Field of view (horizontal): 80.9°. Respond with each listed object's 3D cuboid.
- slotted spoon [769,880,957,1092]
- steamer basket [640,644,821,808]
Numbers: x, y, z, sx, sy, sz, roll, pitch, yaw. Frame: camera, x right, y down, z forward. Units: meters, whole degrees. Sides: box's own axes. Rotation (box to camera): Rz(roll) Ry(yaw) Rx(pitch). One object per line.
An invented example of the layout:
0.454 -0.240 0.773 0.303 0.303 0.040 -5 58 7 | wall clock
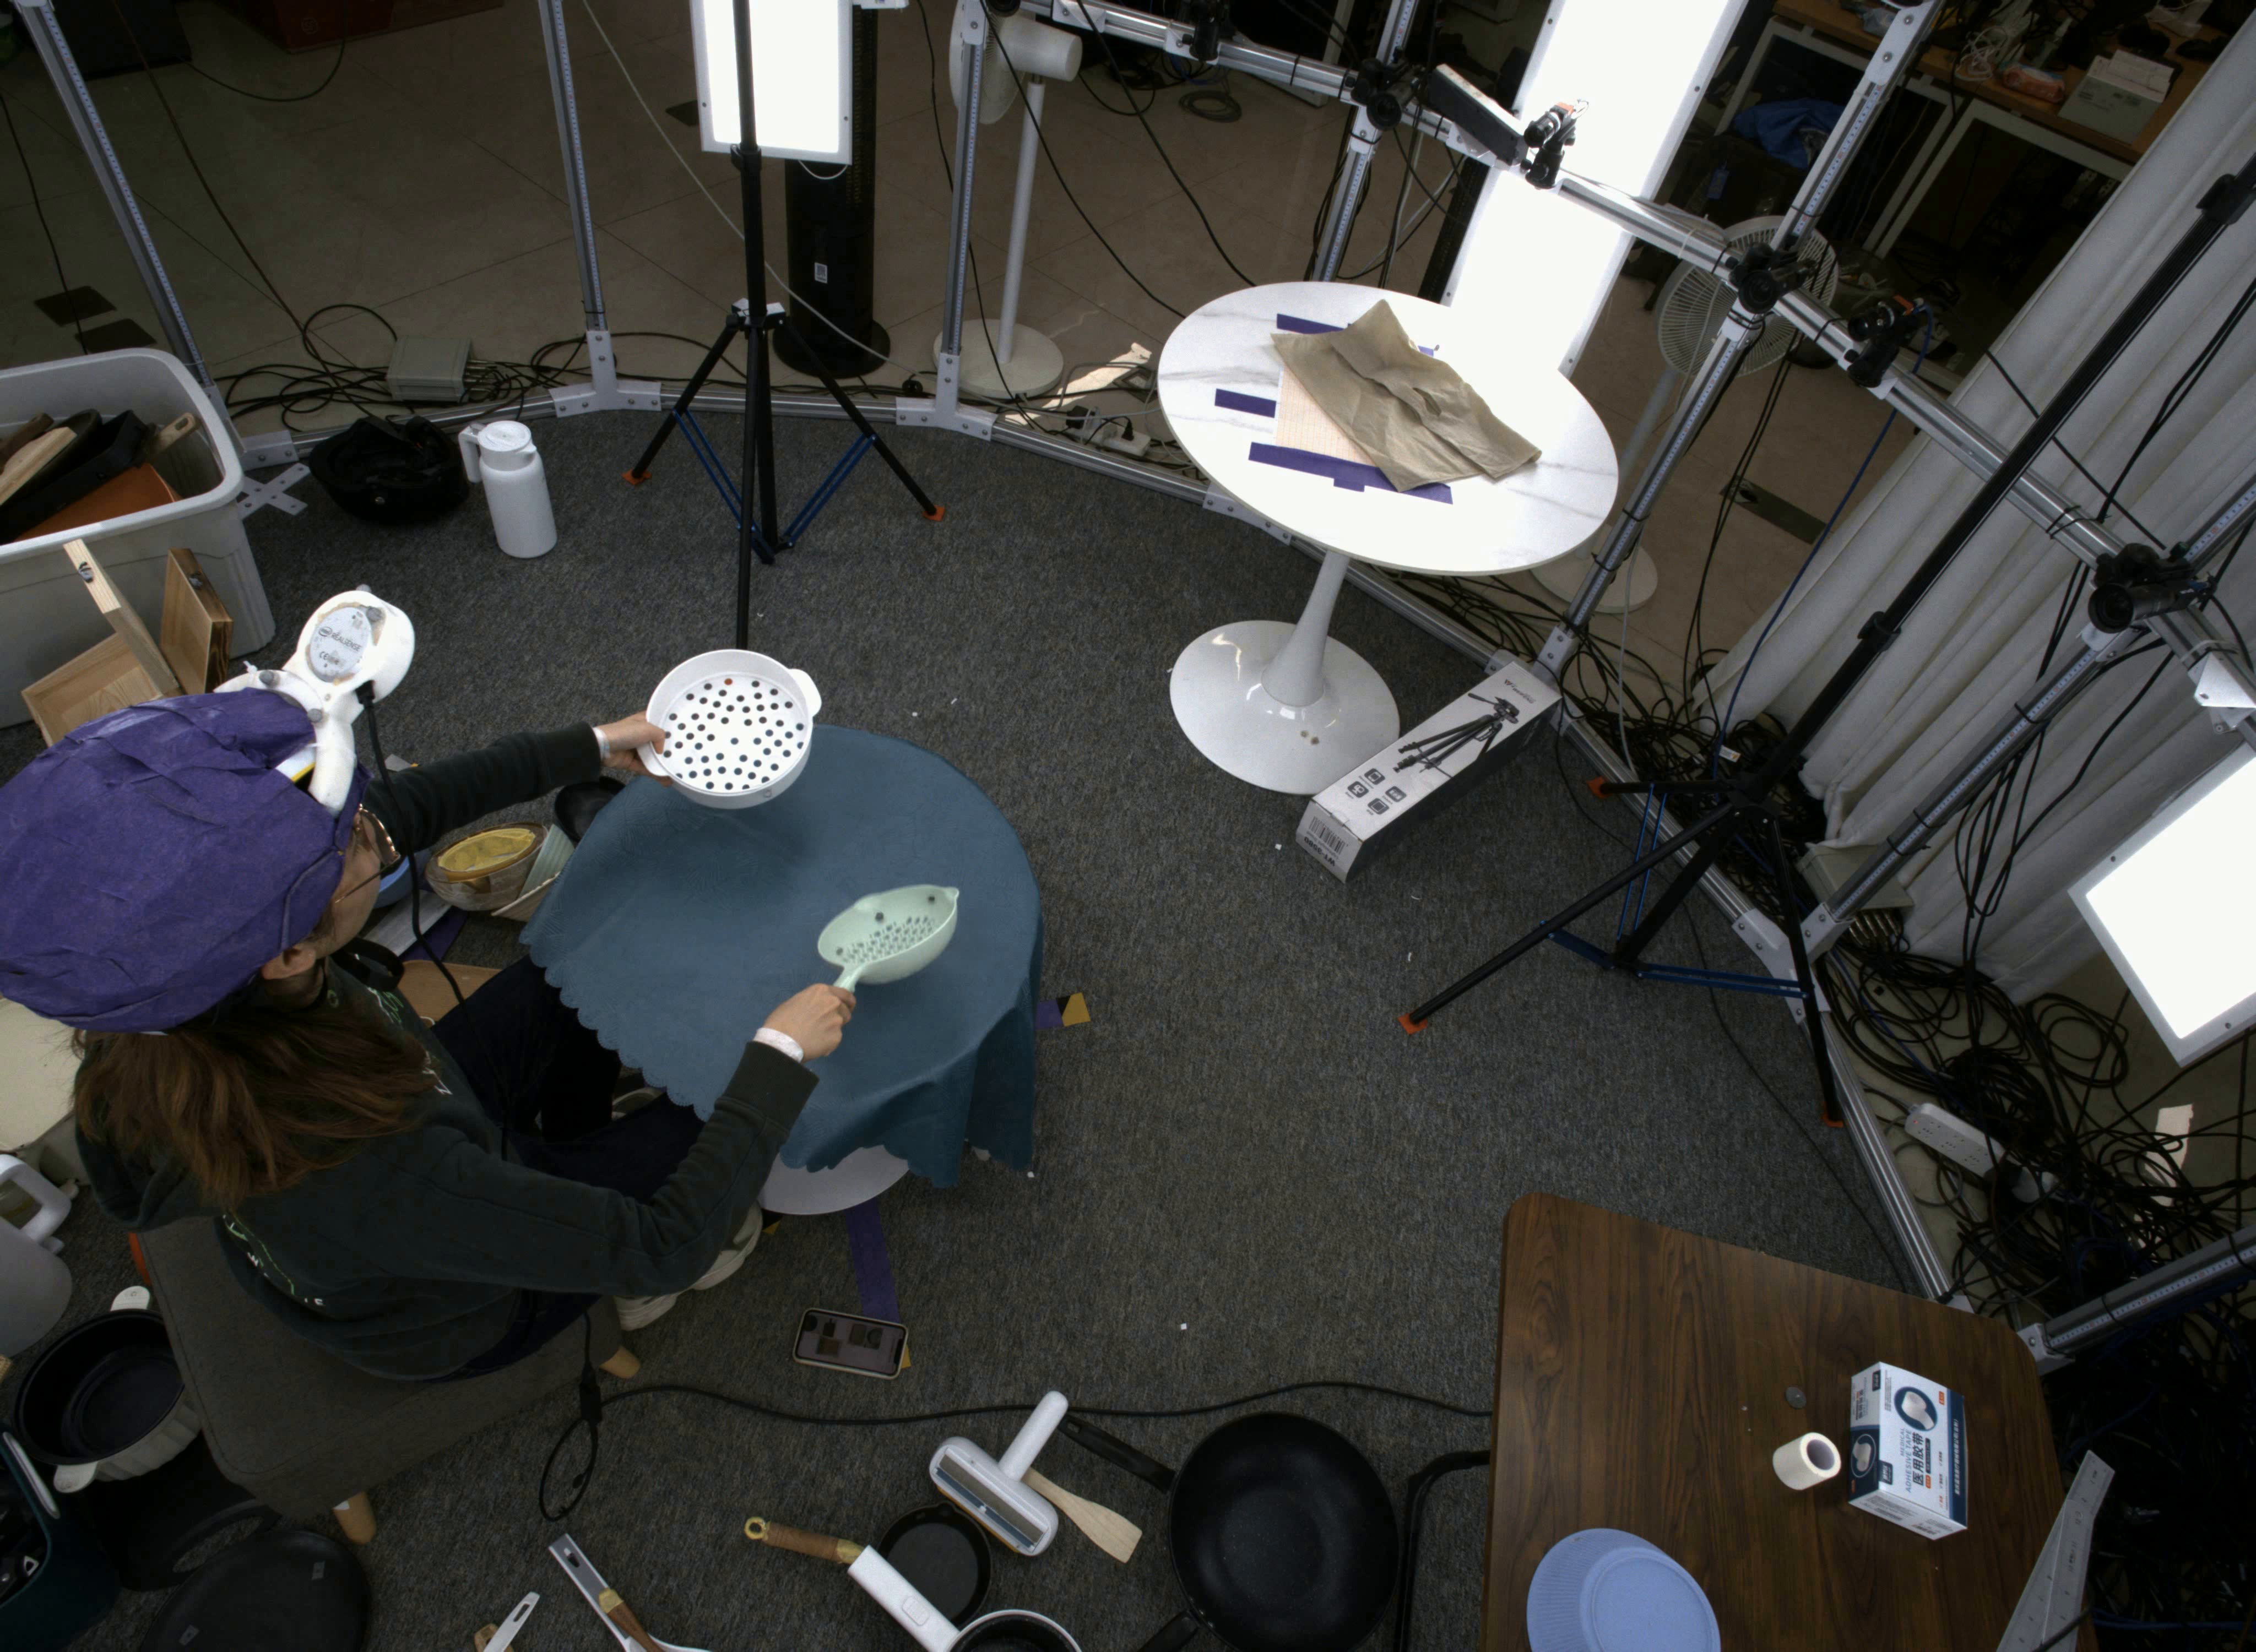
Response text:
-0.306 0.164 1.441 0.165 0.077 0.357 -6 19 21 | slotted spoon
-0.494 -0.124 1.618 0.231 0.070 0.200 -26 77 -20 | steamer basket
